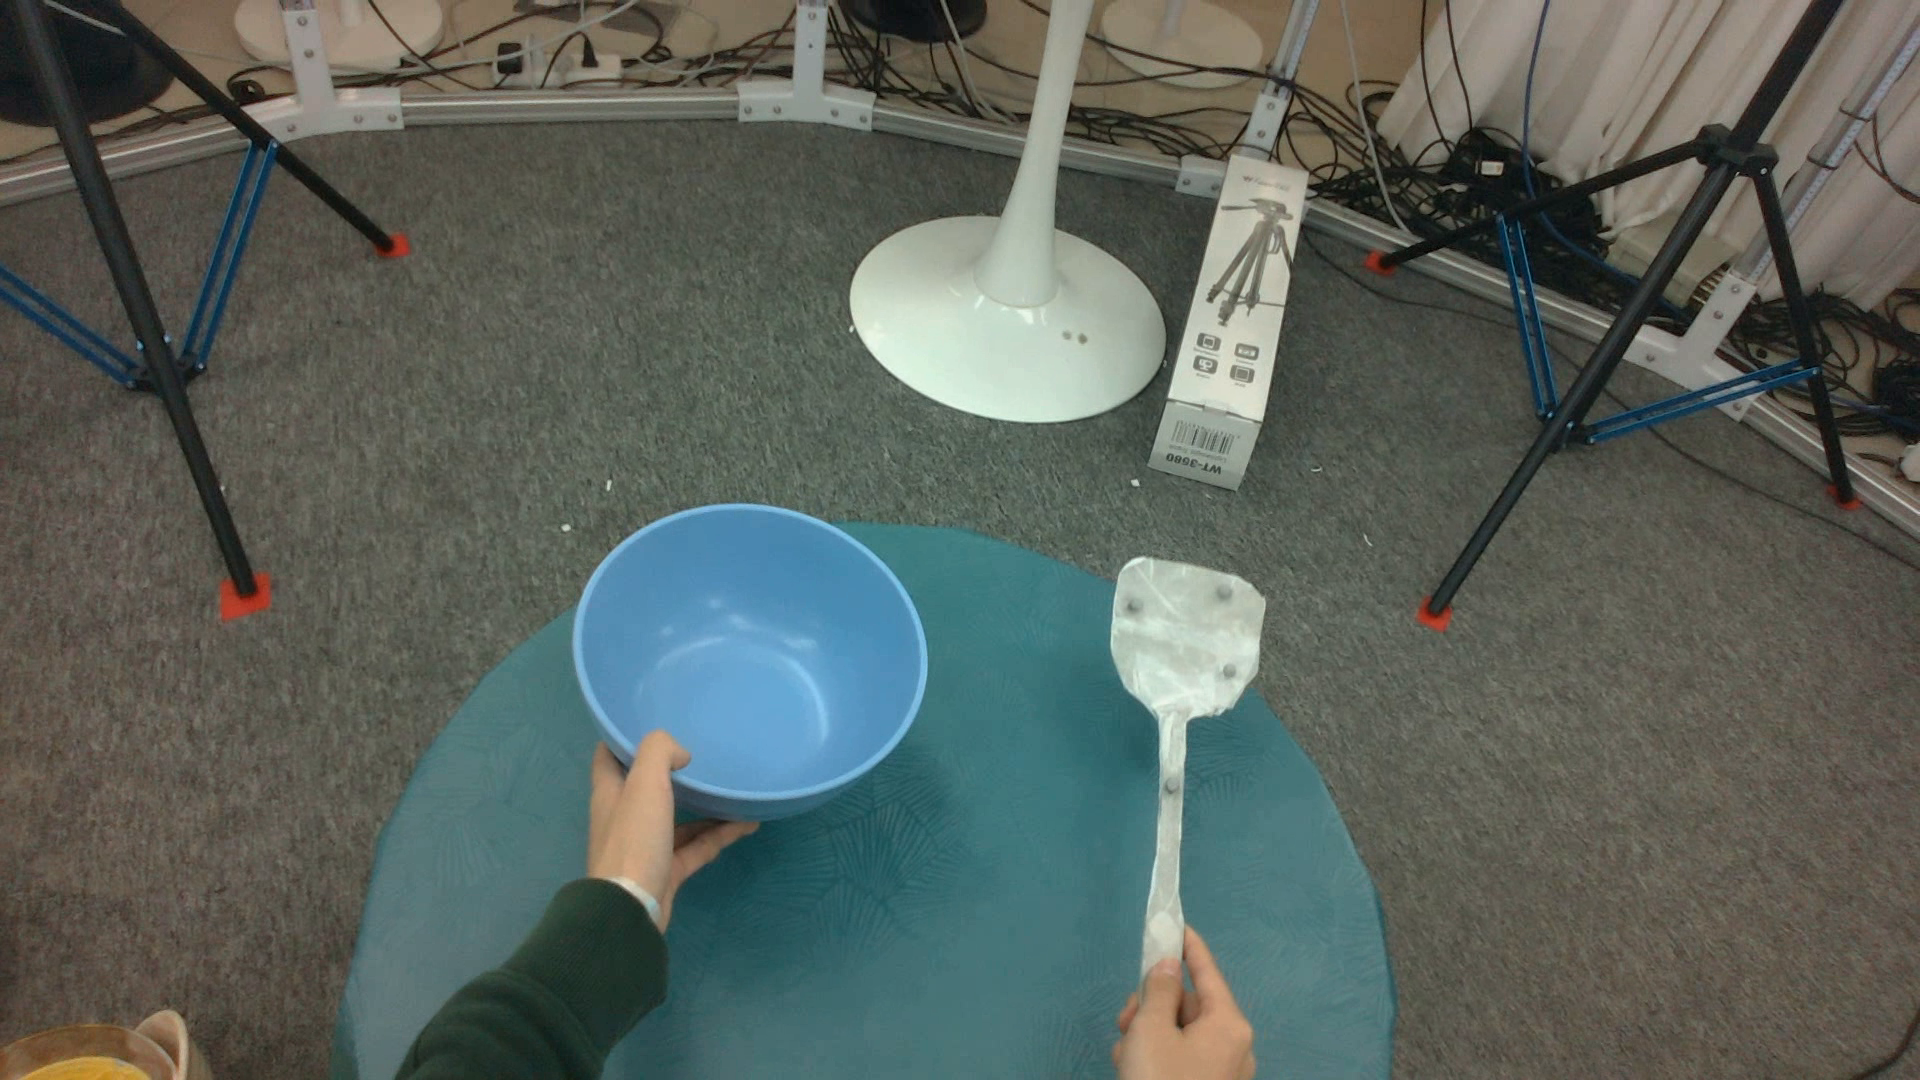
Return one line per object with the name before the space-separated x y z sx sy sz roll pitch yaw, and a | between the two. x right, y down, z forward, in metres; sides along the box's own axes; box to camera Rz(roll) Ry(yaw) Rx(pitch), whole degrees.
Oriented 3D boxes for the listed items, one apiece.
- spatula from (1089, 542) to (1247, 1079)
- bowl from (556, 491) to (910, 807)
spatula | 0.107 0.149 0.785 0.099 0.044 0.367 15 46 -2
bowl | -0.135 0.076 0.798 0.196 0.095 0.197 11 48 -13
